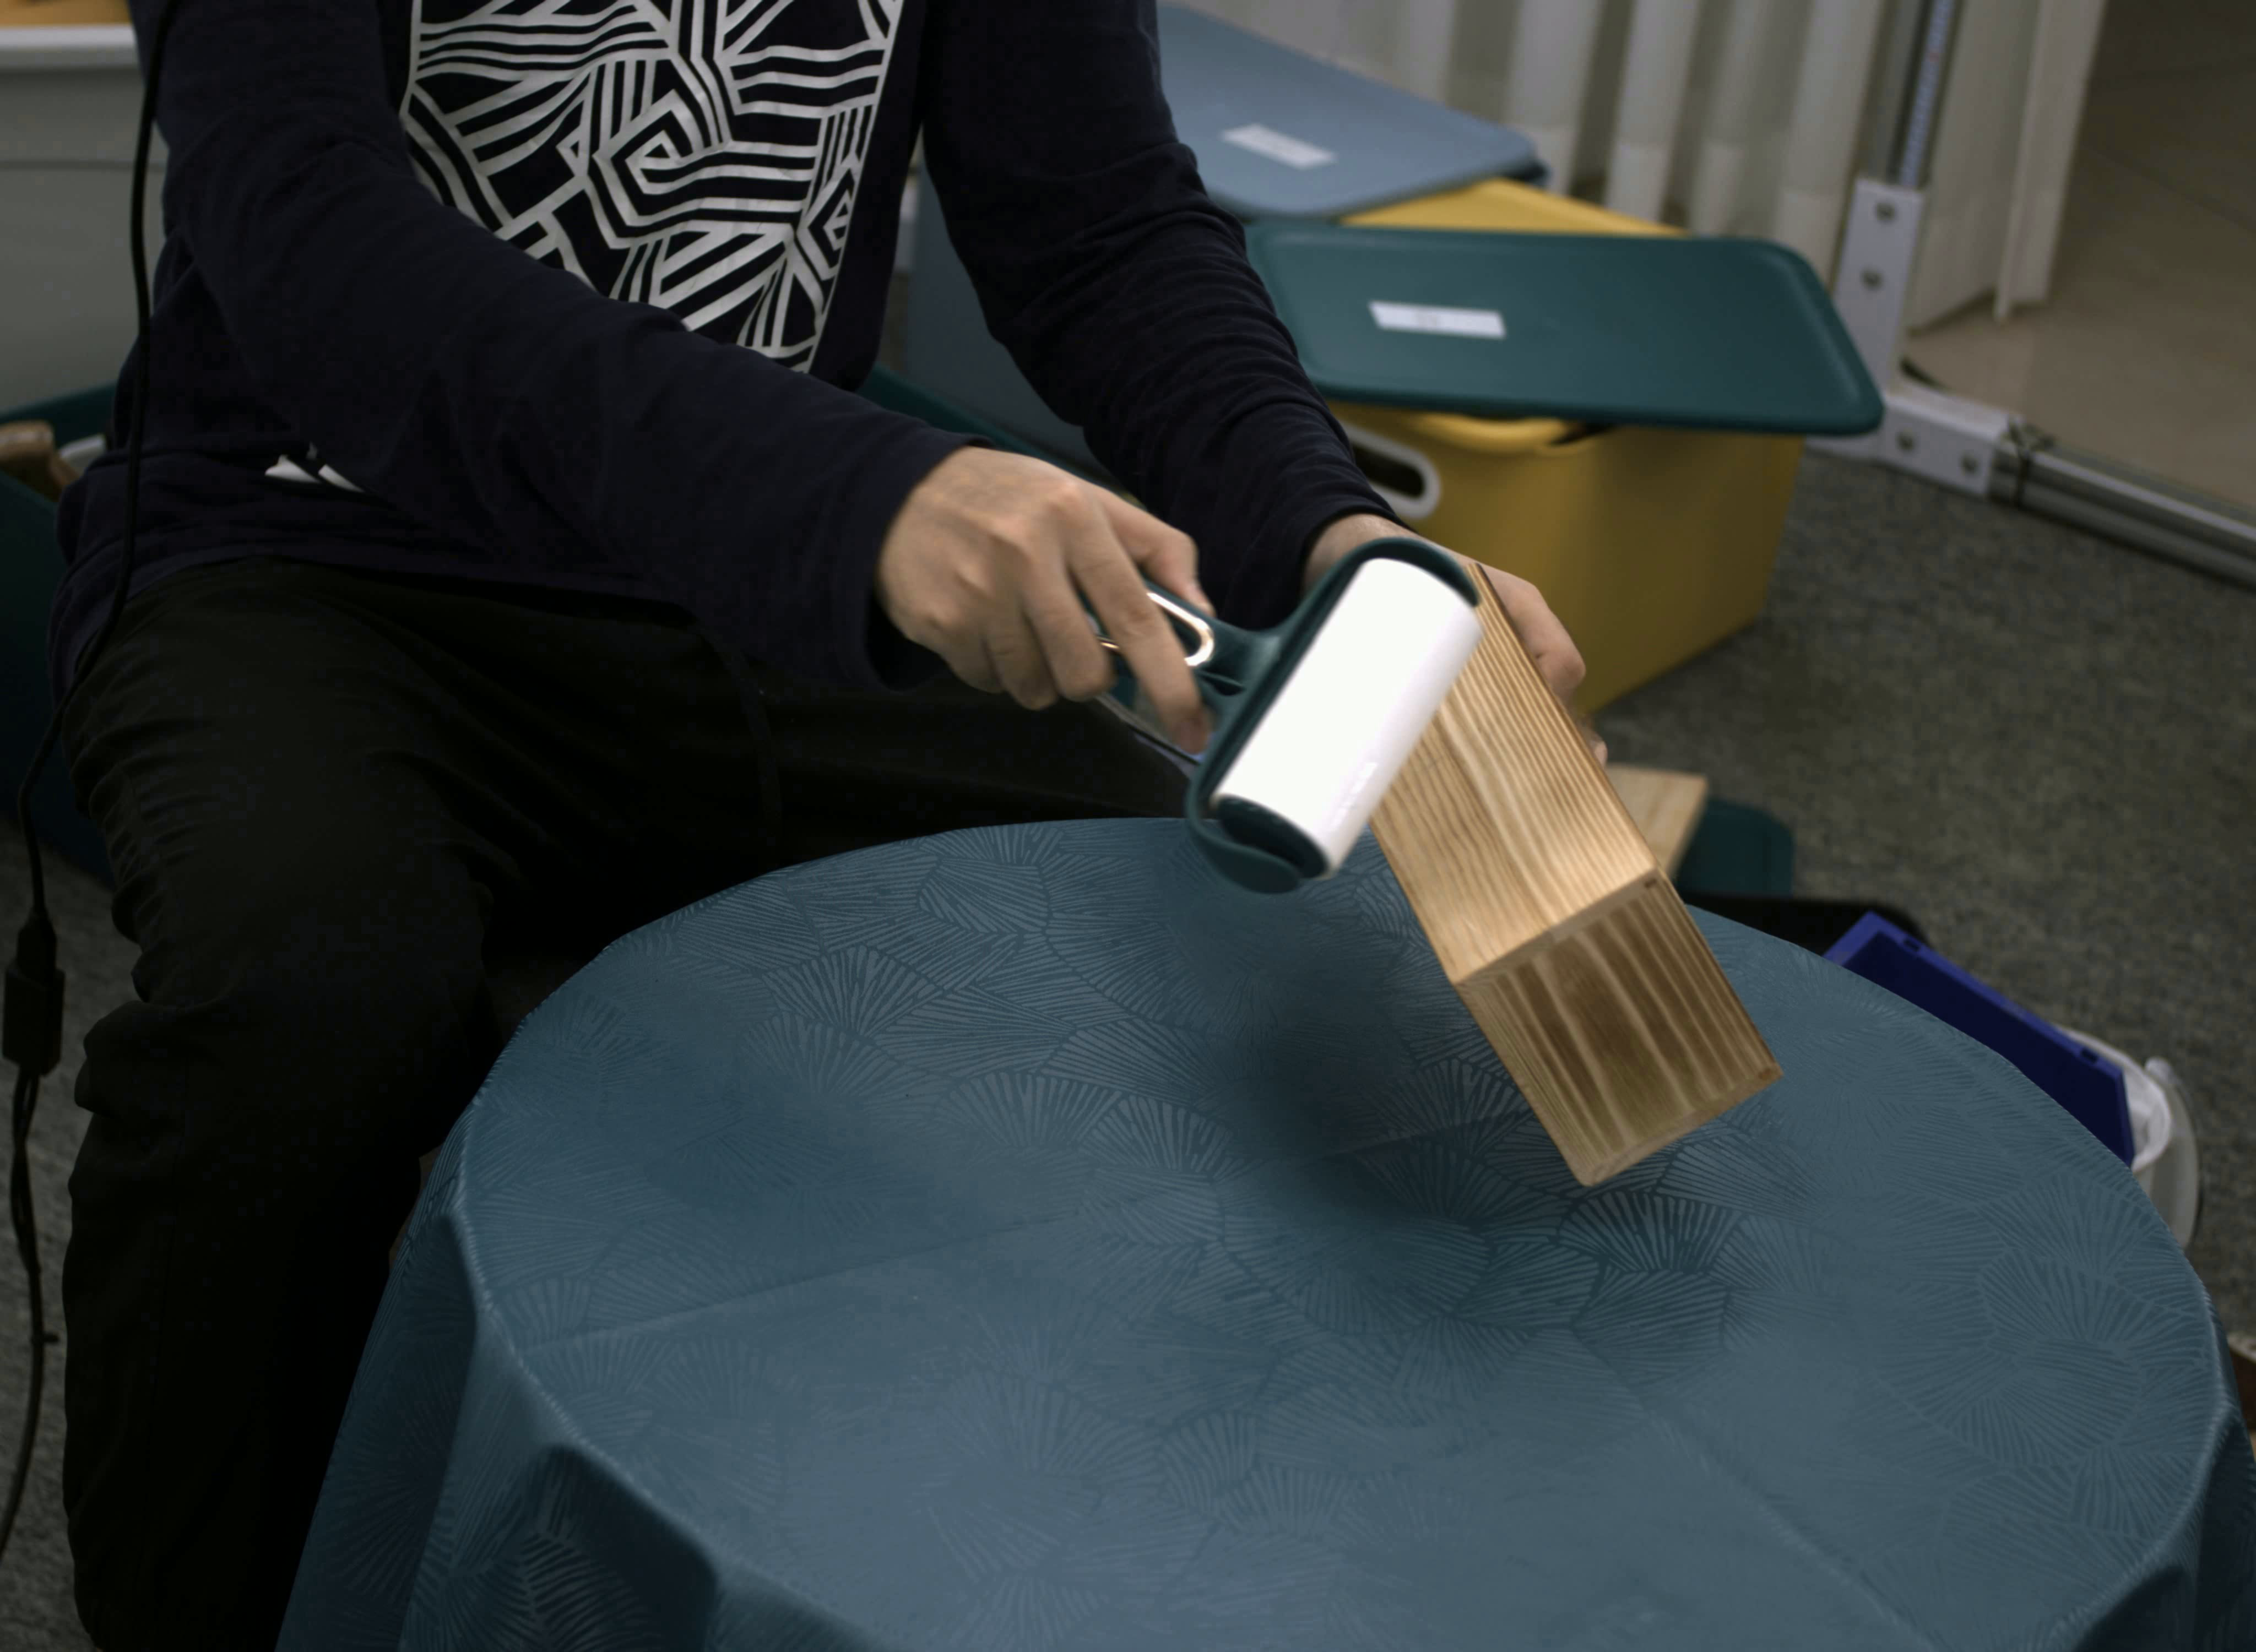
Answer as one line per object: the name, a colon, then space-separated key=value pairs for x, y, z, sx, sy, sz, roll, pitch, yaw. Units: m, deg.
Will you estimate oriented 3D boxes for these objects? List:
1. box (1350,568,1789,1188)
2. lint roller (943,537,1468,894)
box: x=0.140 y=0.015 z=1.858 sx=0.080 sy=0.106 sz=0.213 roll=-32 pitch=34 yaw=4
lint roller: x=0.011 y=-0.062 z=1.785 sx=0.181 sy=0.048 sz=0.134 roll=25 pitch=69 yaw=22
